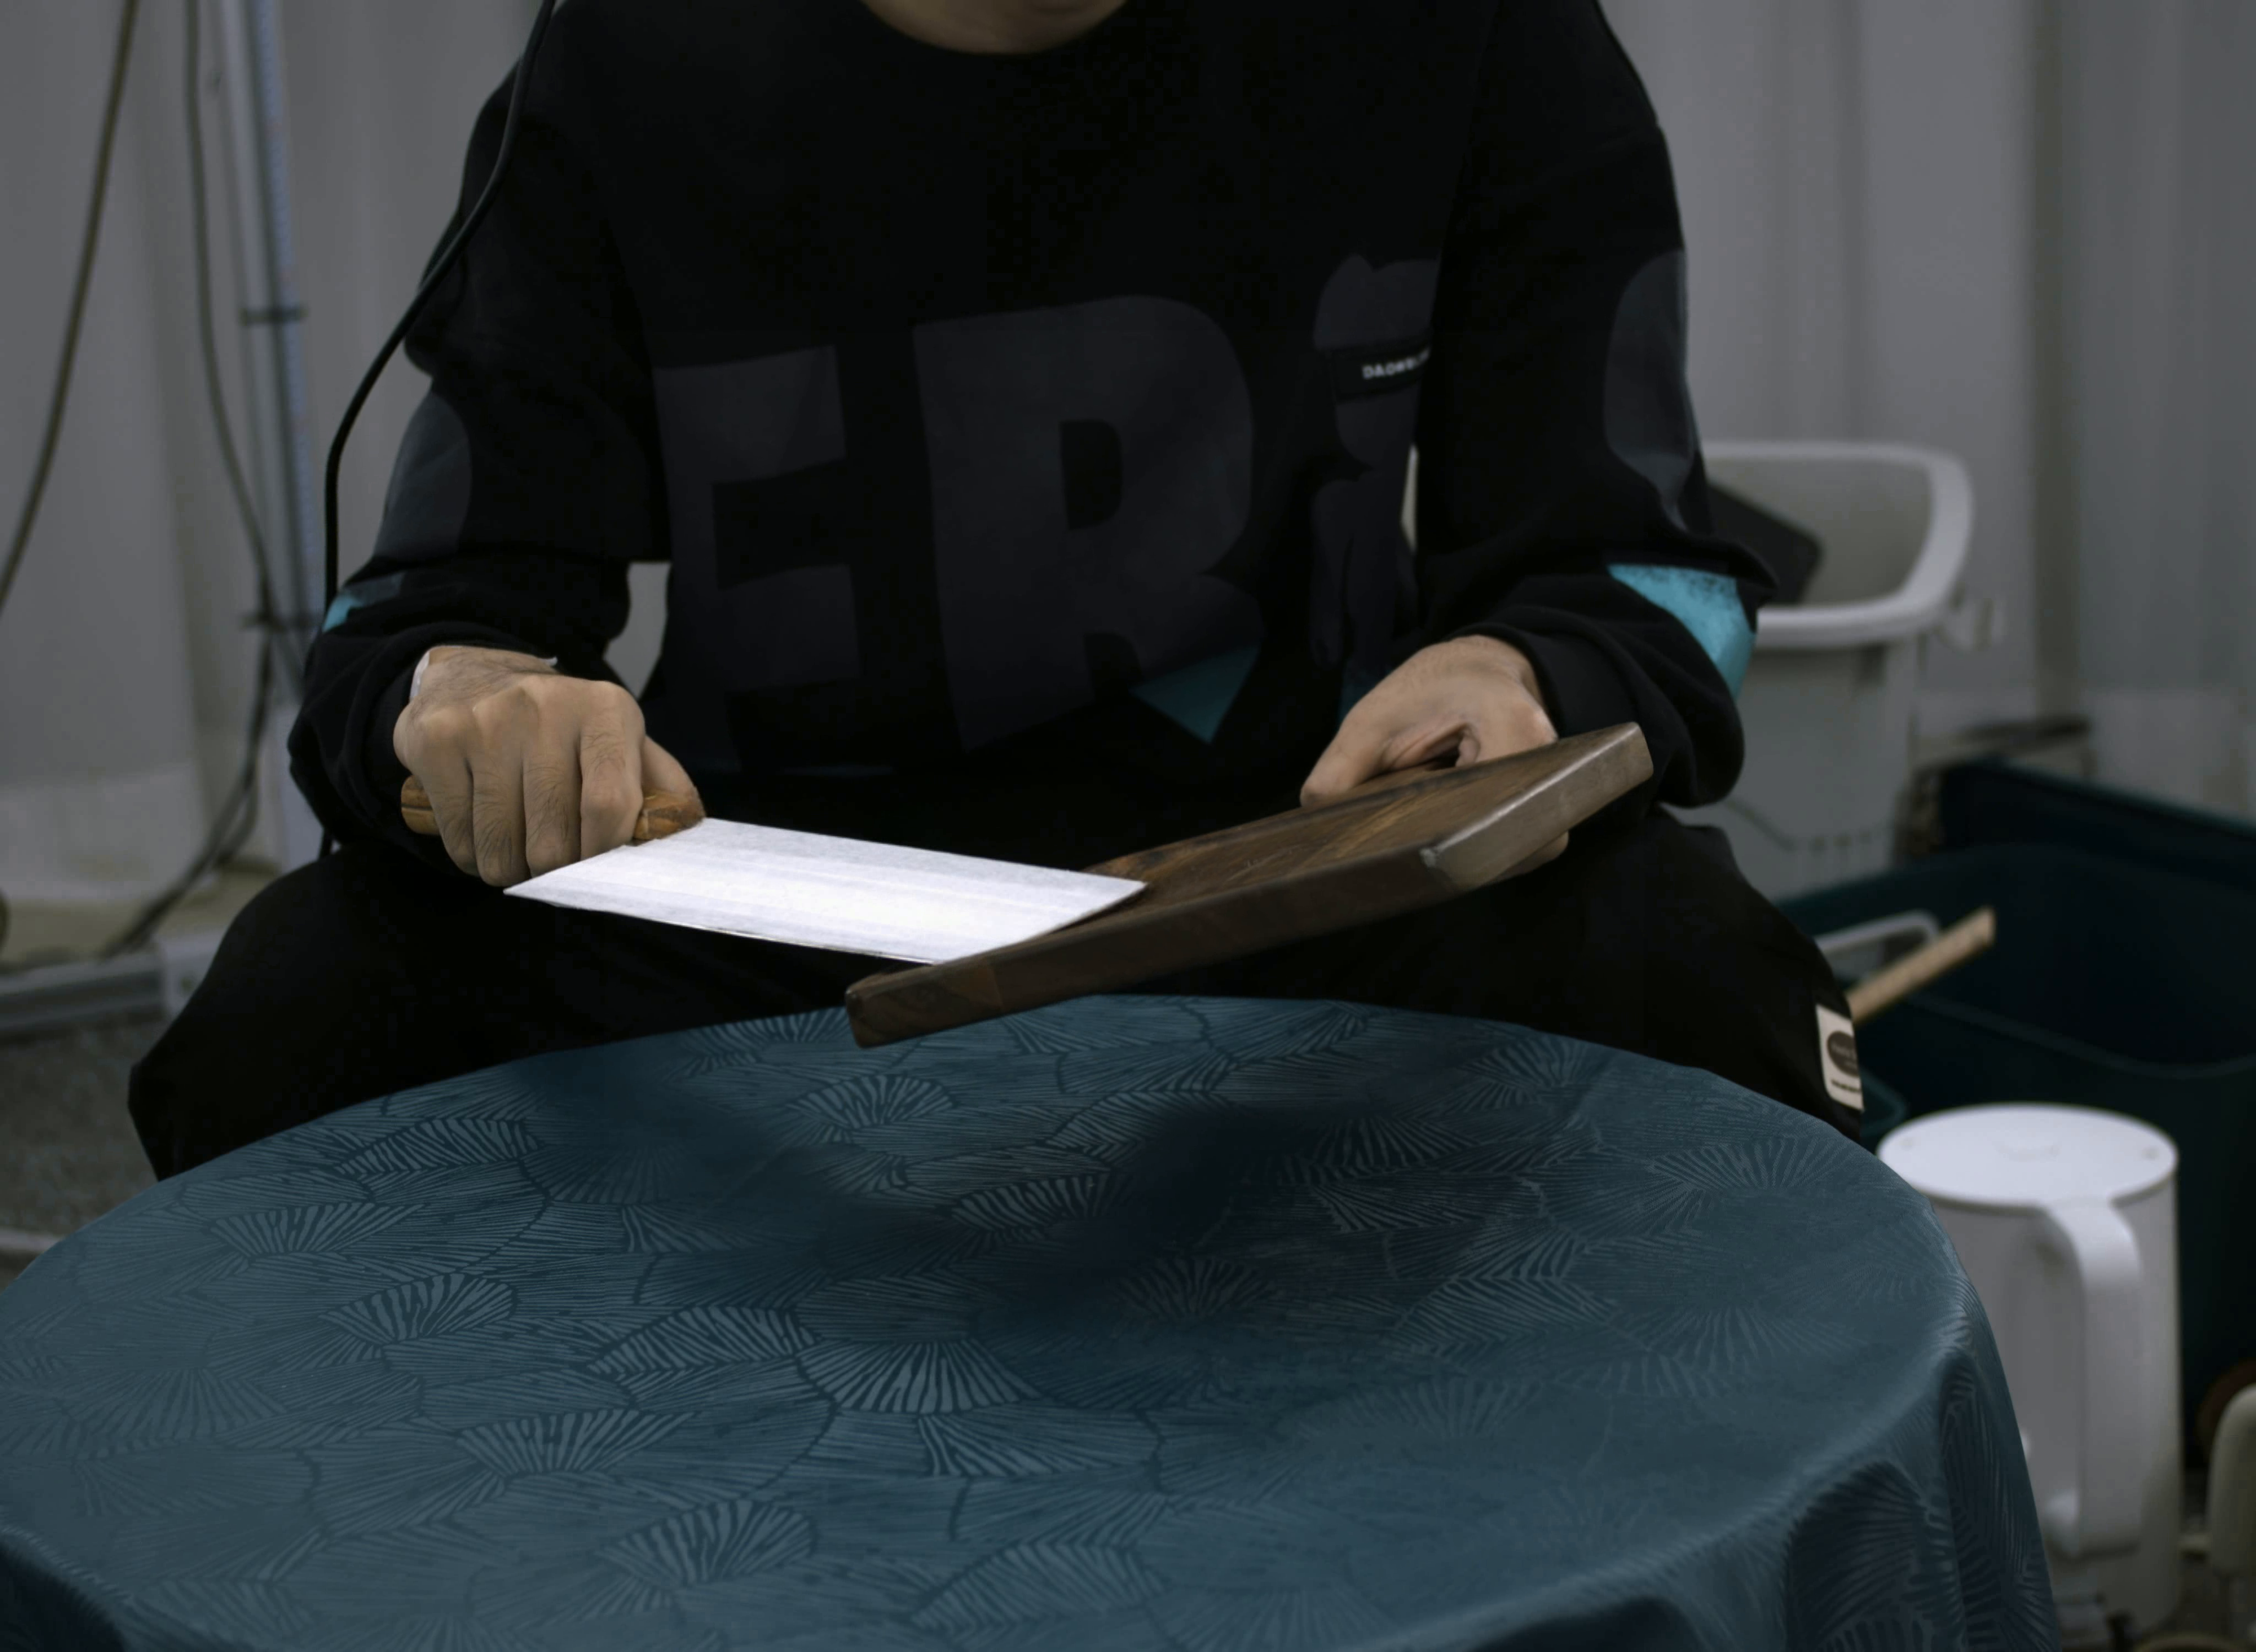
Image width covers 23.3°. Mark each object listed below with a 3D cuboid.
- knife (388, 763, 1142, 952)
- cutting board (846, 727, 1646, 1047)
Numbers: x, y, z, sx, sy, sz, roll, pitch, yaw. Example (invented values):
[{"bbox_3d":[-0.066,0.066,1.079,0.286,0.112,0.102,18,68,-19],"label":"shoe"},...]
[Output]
[{"bbox_3d":[-0.136,0.013,1.706,0.307,0.021,0.093,8,21,39],"label":"knife"},{"bbox_3d":[0.055,0.009,1.704,0.200,0.023,0.352,-15,3,18],"label":"cutting board"}]
